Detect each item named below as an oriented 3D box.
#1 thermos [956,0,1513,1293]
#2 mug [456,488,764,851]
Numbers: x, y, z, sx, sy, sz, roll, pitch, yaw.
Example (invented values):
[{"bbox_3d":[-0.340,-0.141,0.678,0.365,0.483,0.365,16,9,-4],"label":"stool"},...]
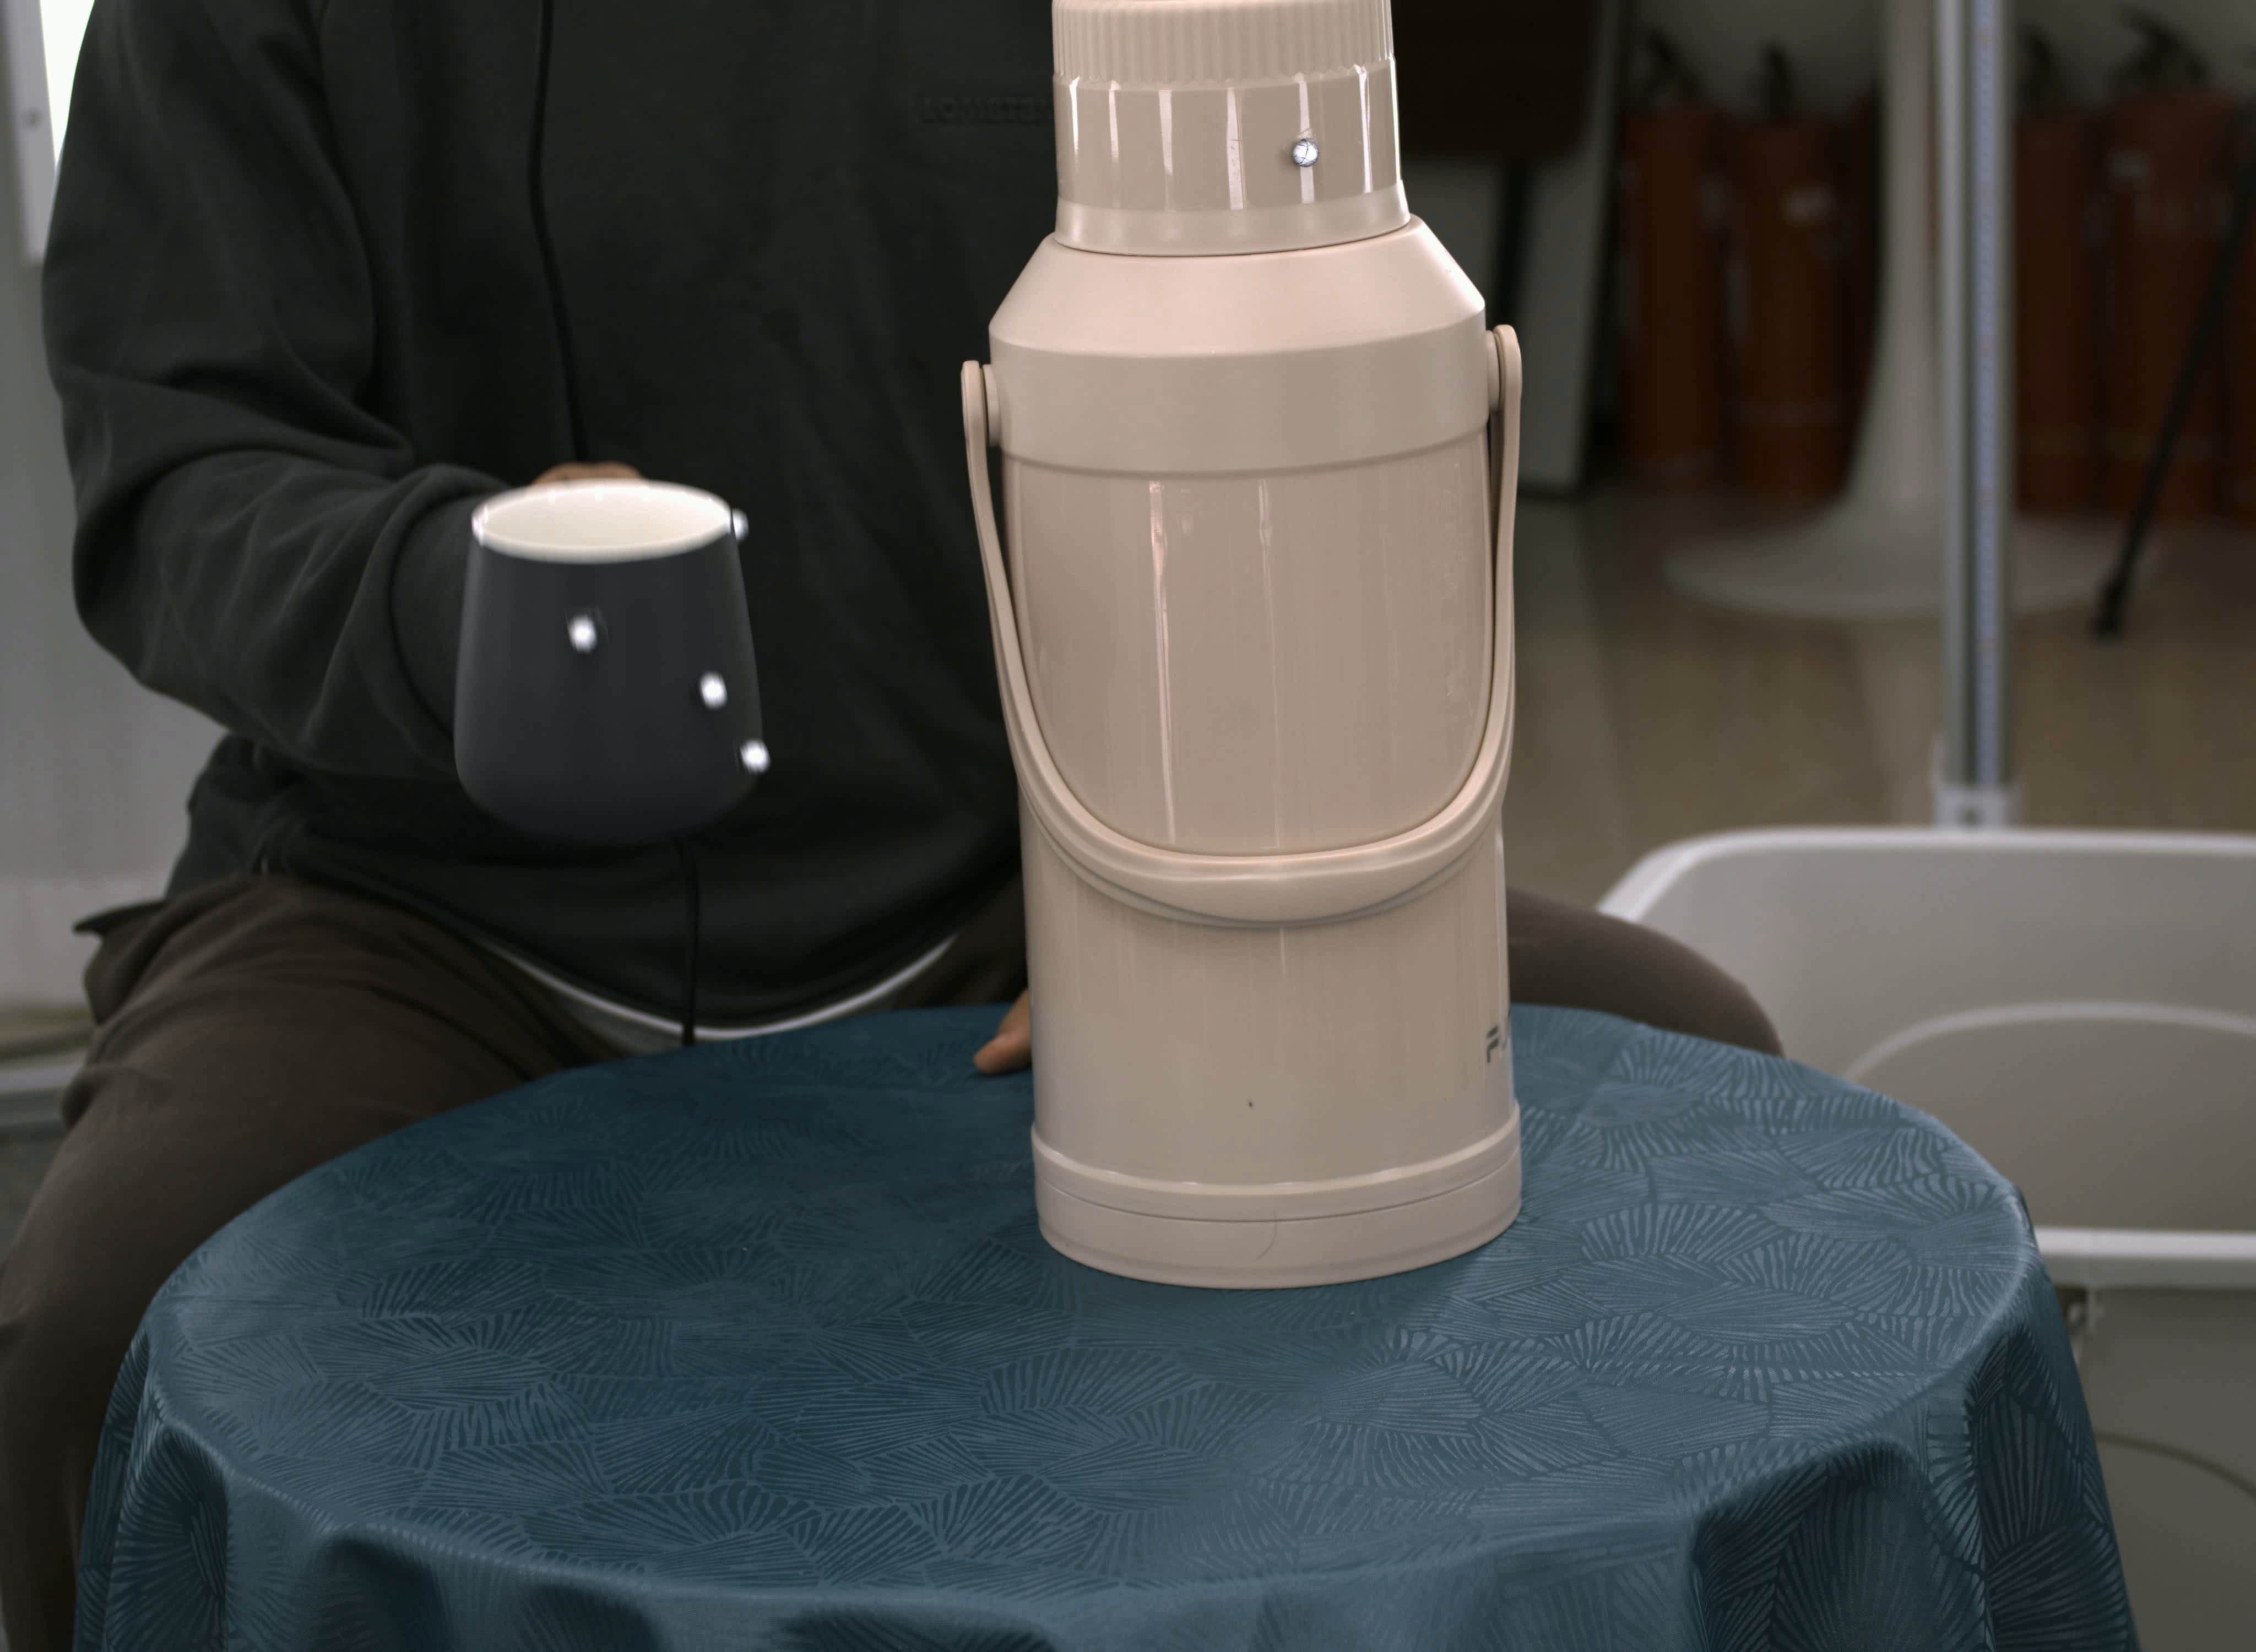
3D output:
[{"bbox_3d":[0.036,-0.072,1.713,0.173,0.411,0.208,-5,14,-4],"label":"thermos"},{"bbox_3d":[-0.156,-0.052,1.637,0.092,0.091,0.123,0,20,3],"label":"mug"}]
